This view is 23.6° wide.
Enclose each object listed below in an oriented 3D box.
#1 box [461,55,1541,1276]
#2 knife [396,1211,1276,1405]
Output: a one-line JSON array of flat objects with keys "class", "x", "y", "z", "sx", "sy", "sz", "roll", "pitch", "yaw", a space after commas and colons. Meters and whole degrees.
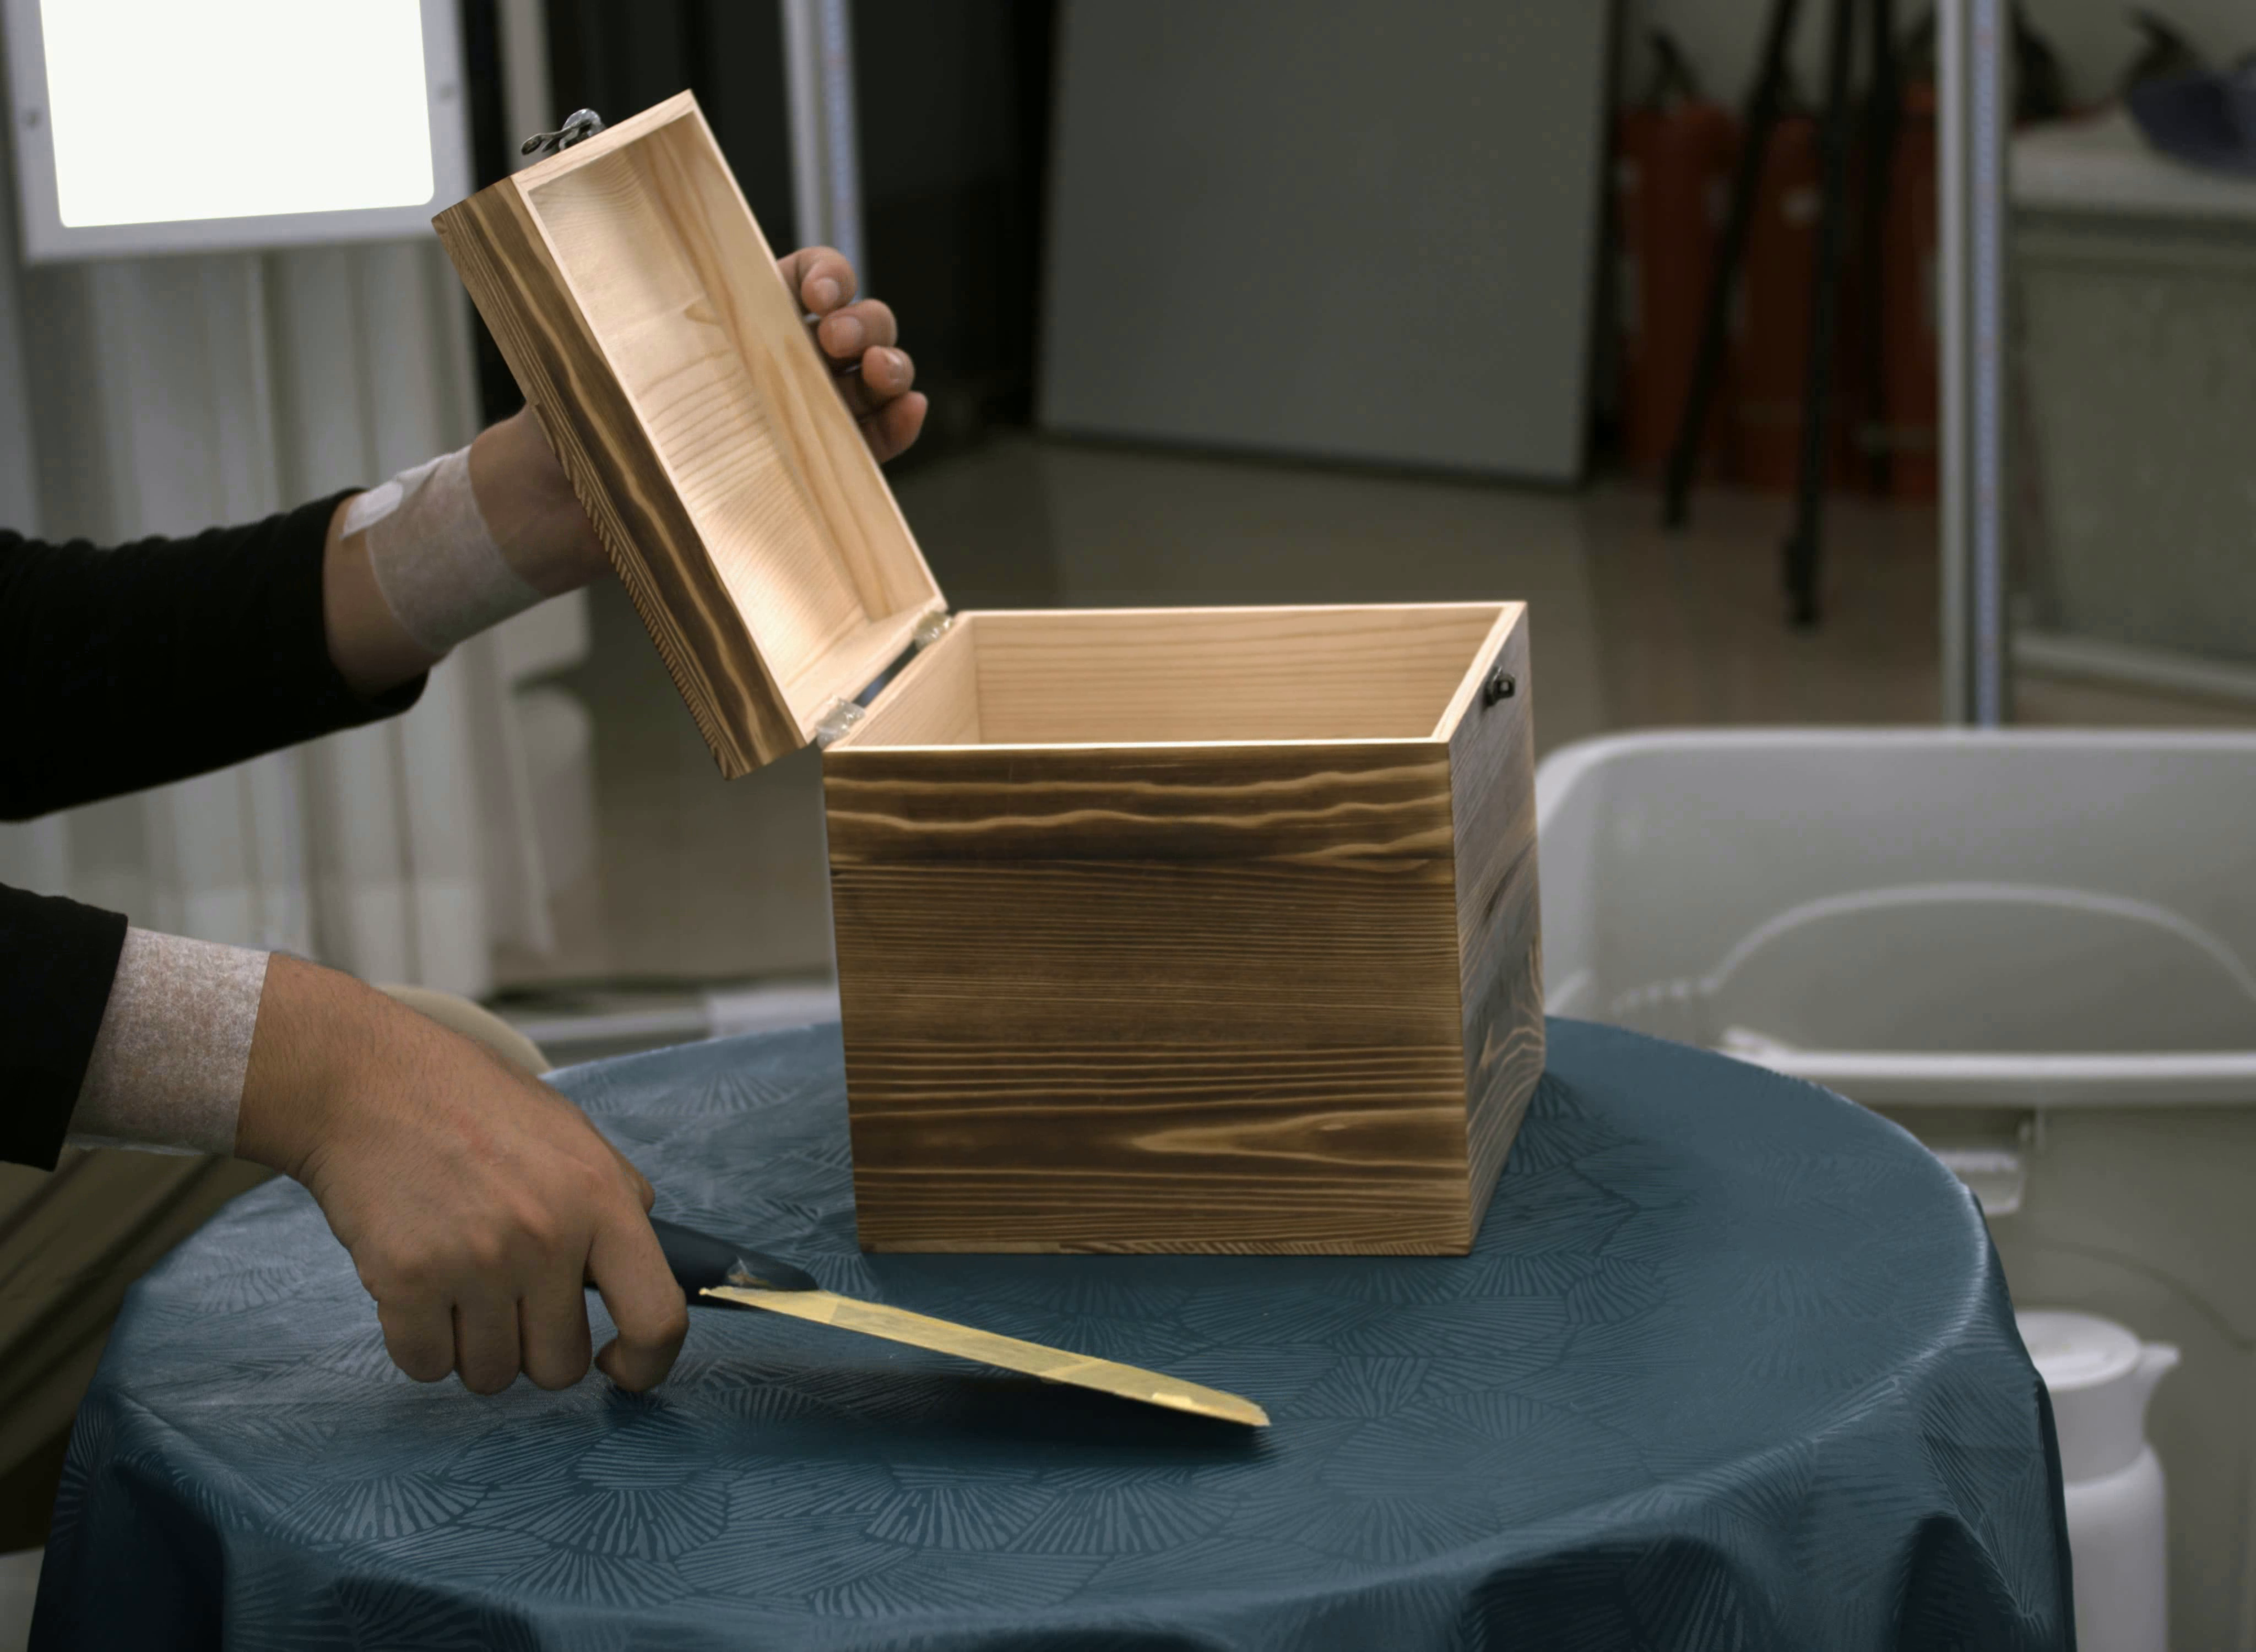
[{"class": "box", "x": -0.032, "y": -0.062, "z": 1.766, "sx": 0.320, "sy": 0.379, "sz": 0.207, "roll": -2, "pitch": 14, "yaw": 13}, {"class": "knife", "x": -0.091, "y": 0.145, "z": 1.590, "sx": 0.289, "sy": 0.027, "sz": 0.080, "roll": 8, "pitch": -5, "yaw": 20}]
